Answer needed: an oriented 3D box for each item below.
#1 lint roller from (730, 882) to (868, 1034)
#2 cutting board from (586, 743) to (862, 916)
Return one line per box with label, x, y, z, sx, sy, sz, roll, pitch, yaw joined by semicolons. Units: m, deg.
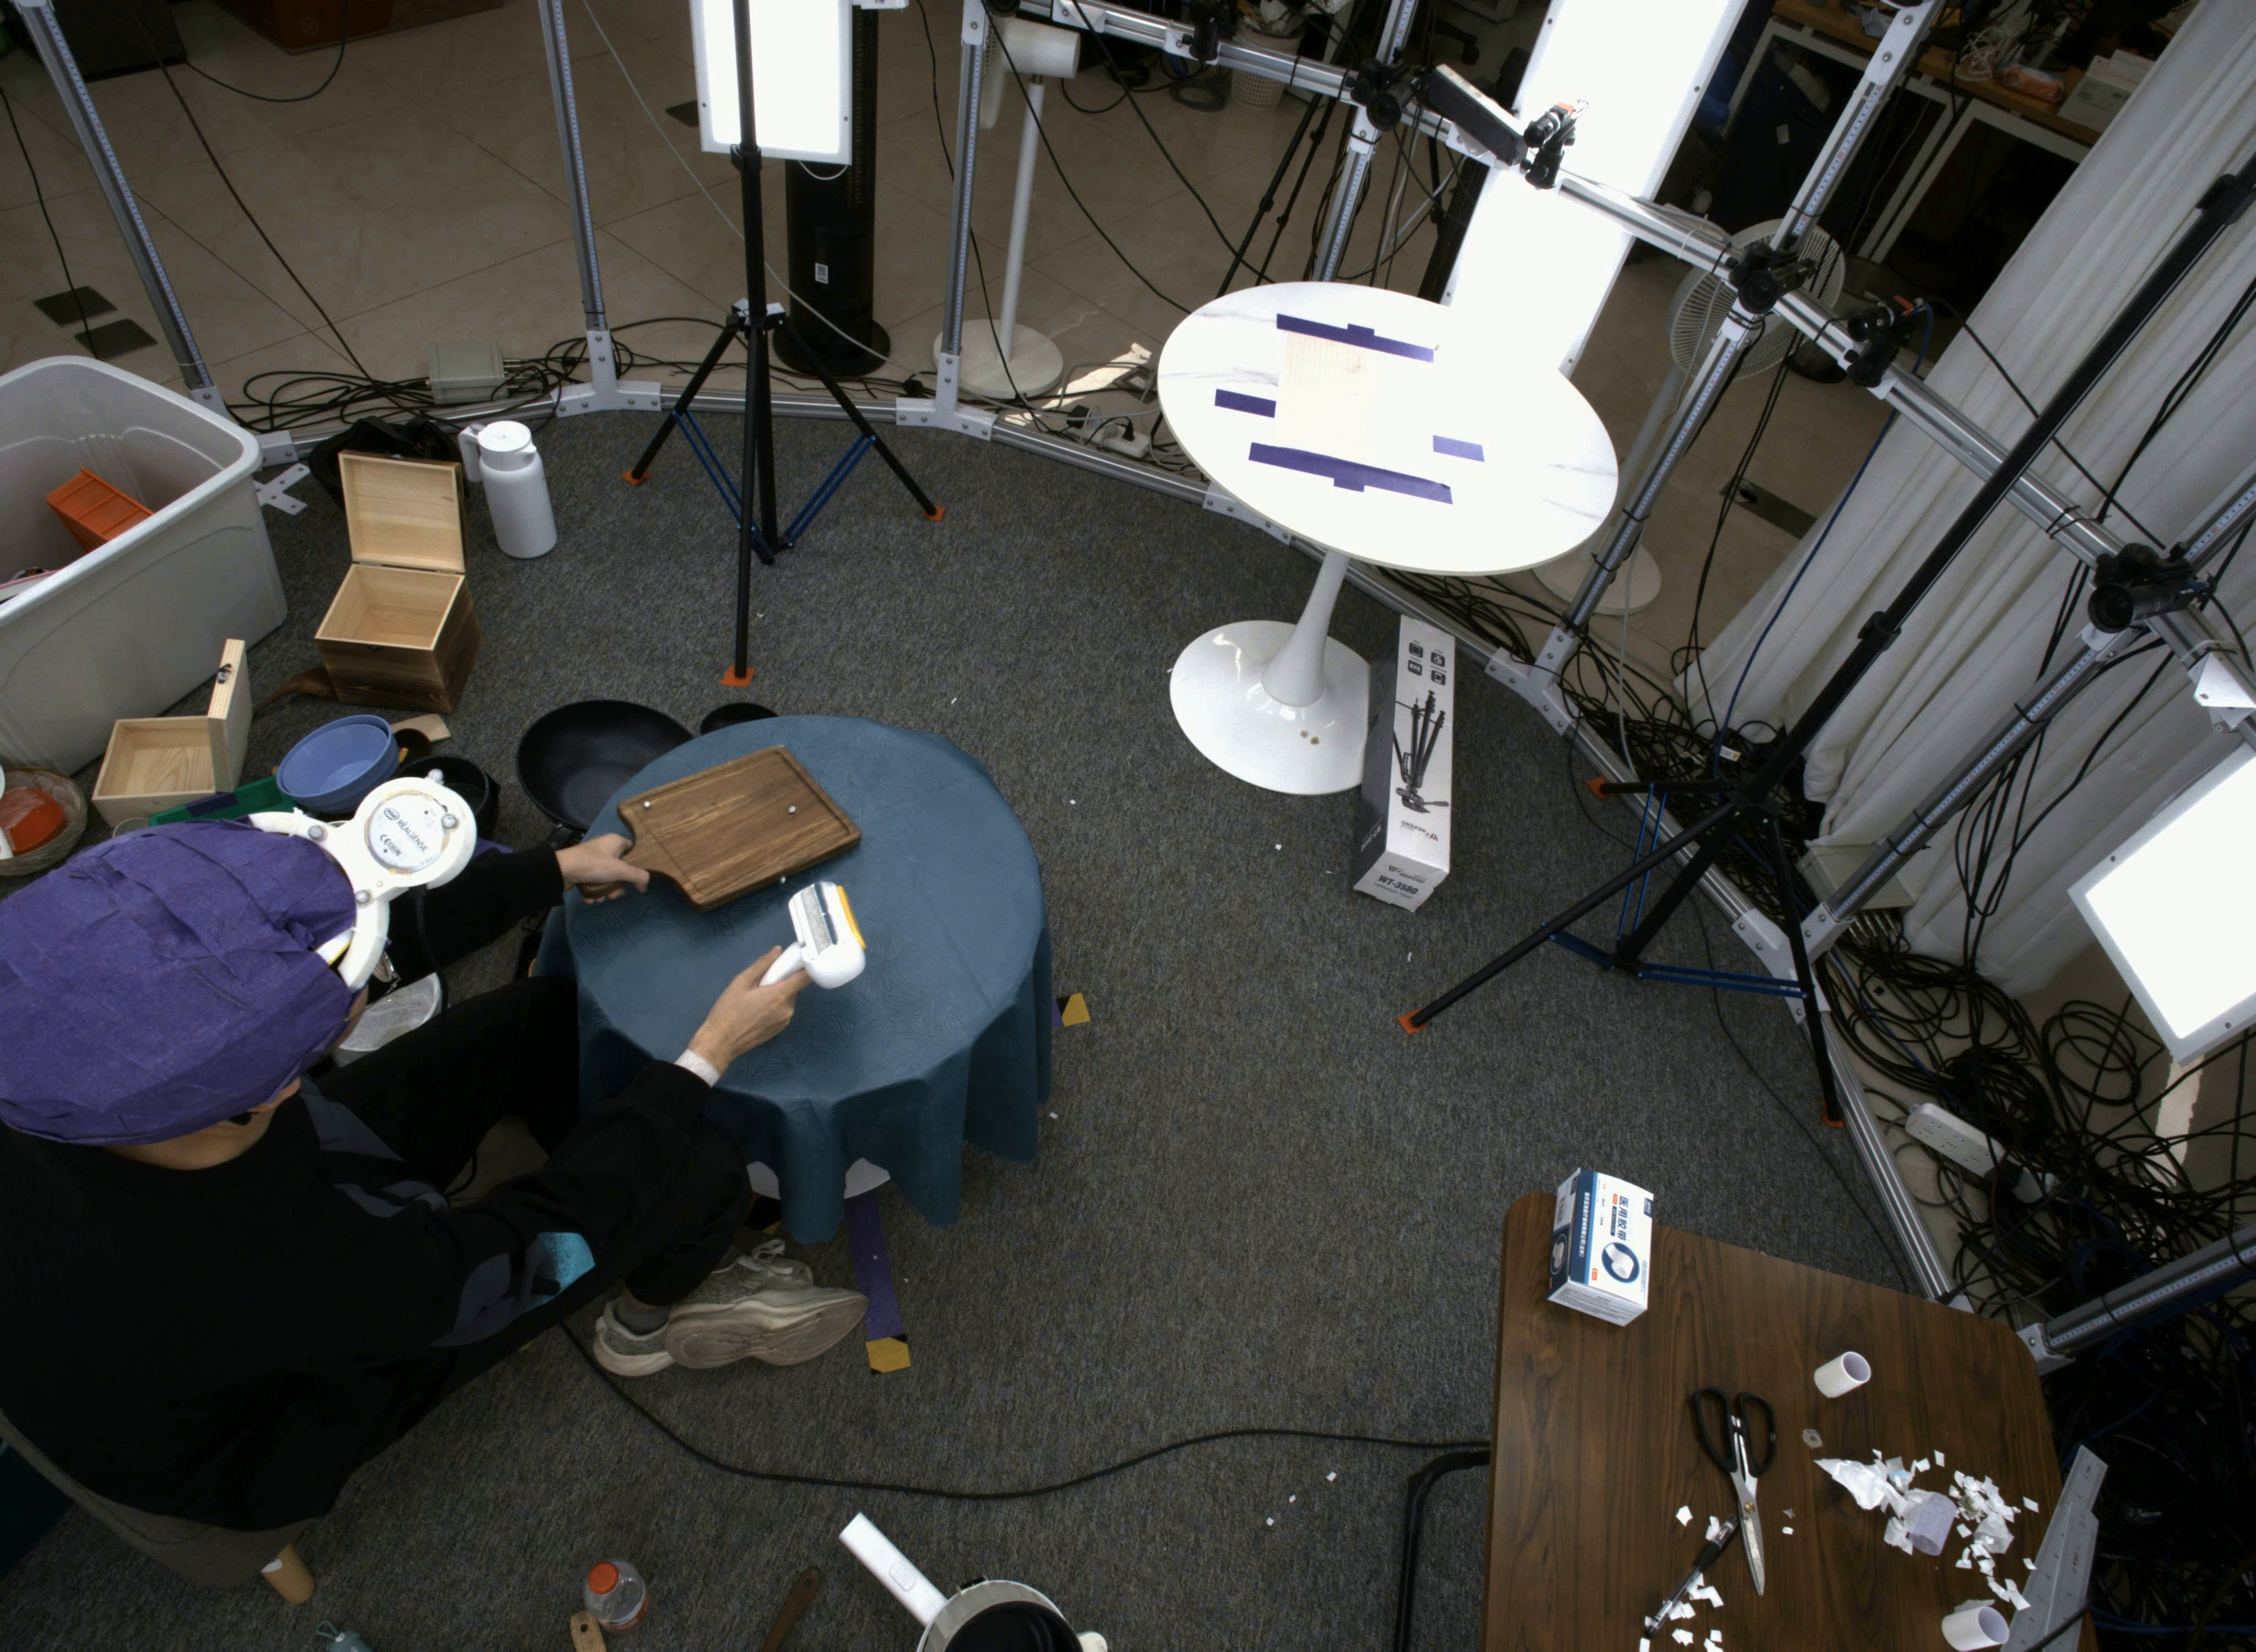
lint roller;-0.391;0.162;1.498;0.191;0.077;0.186;-34;34;-2
cutting board;-0.534;0.014;1.642;0.354;0.023;0.196;-28;65;-41
